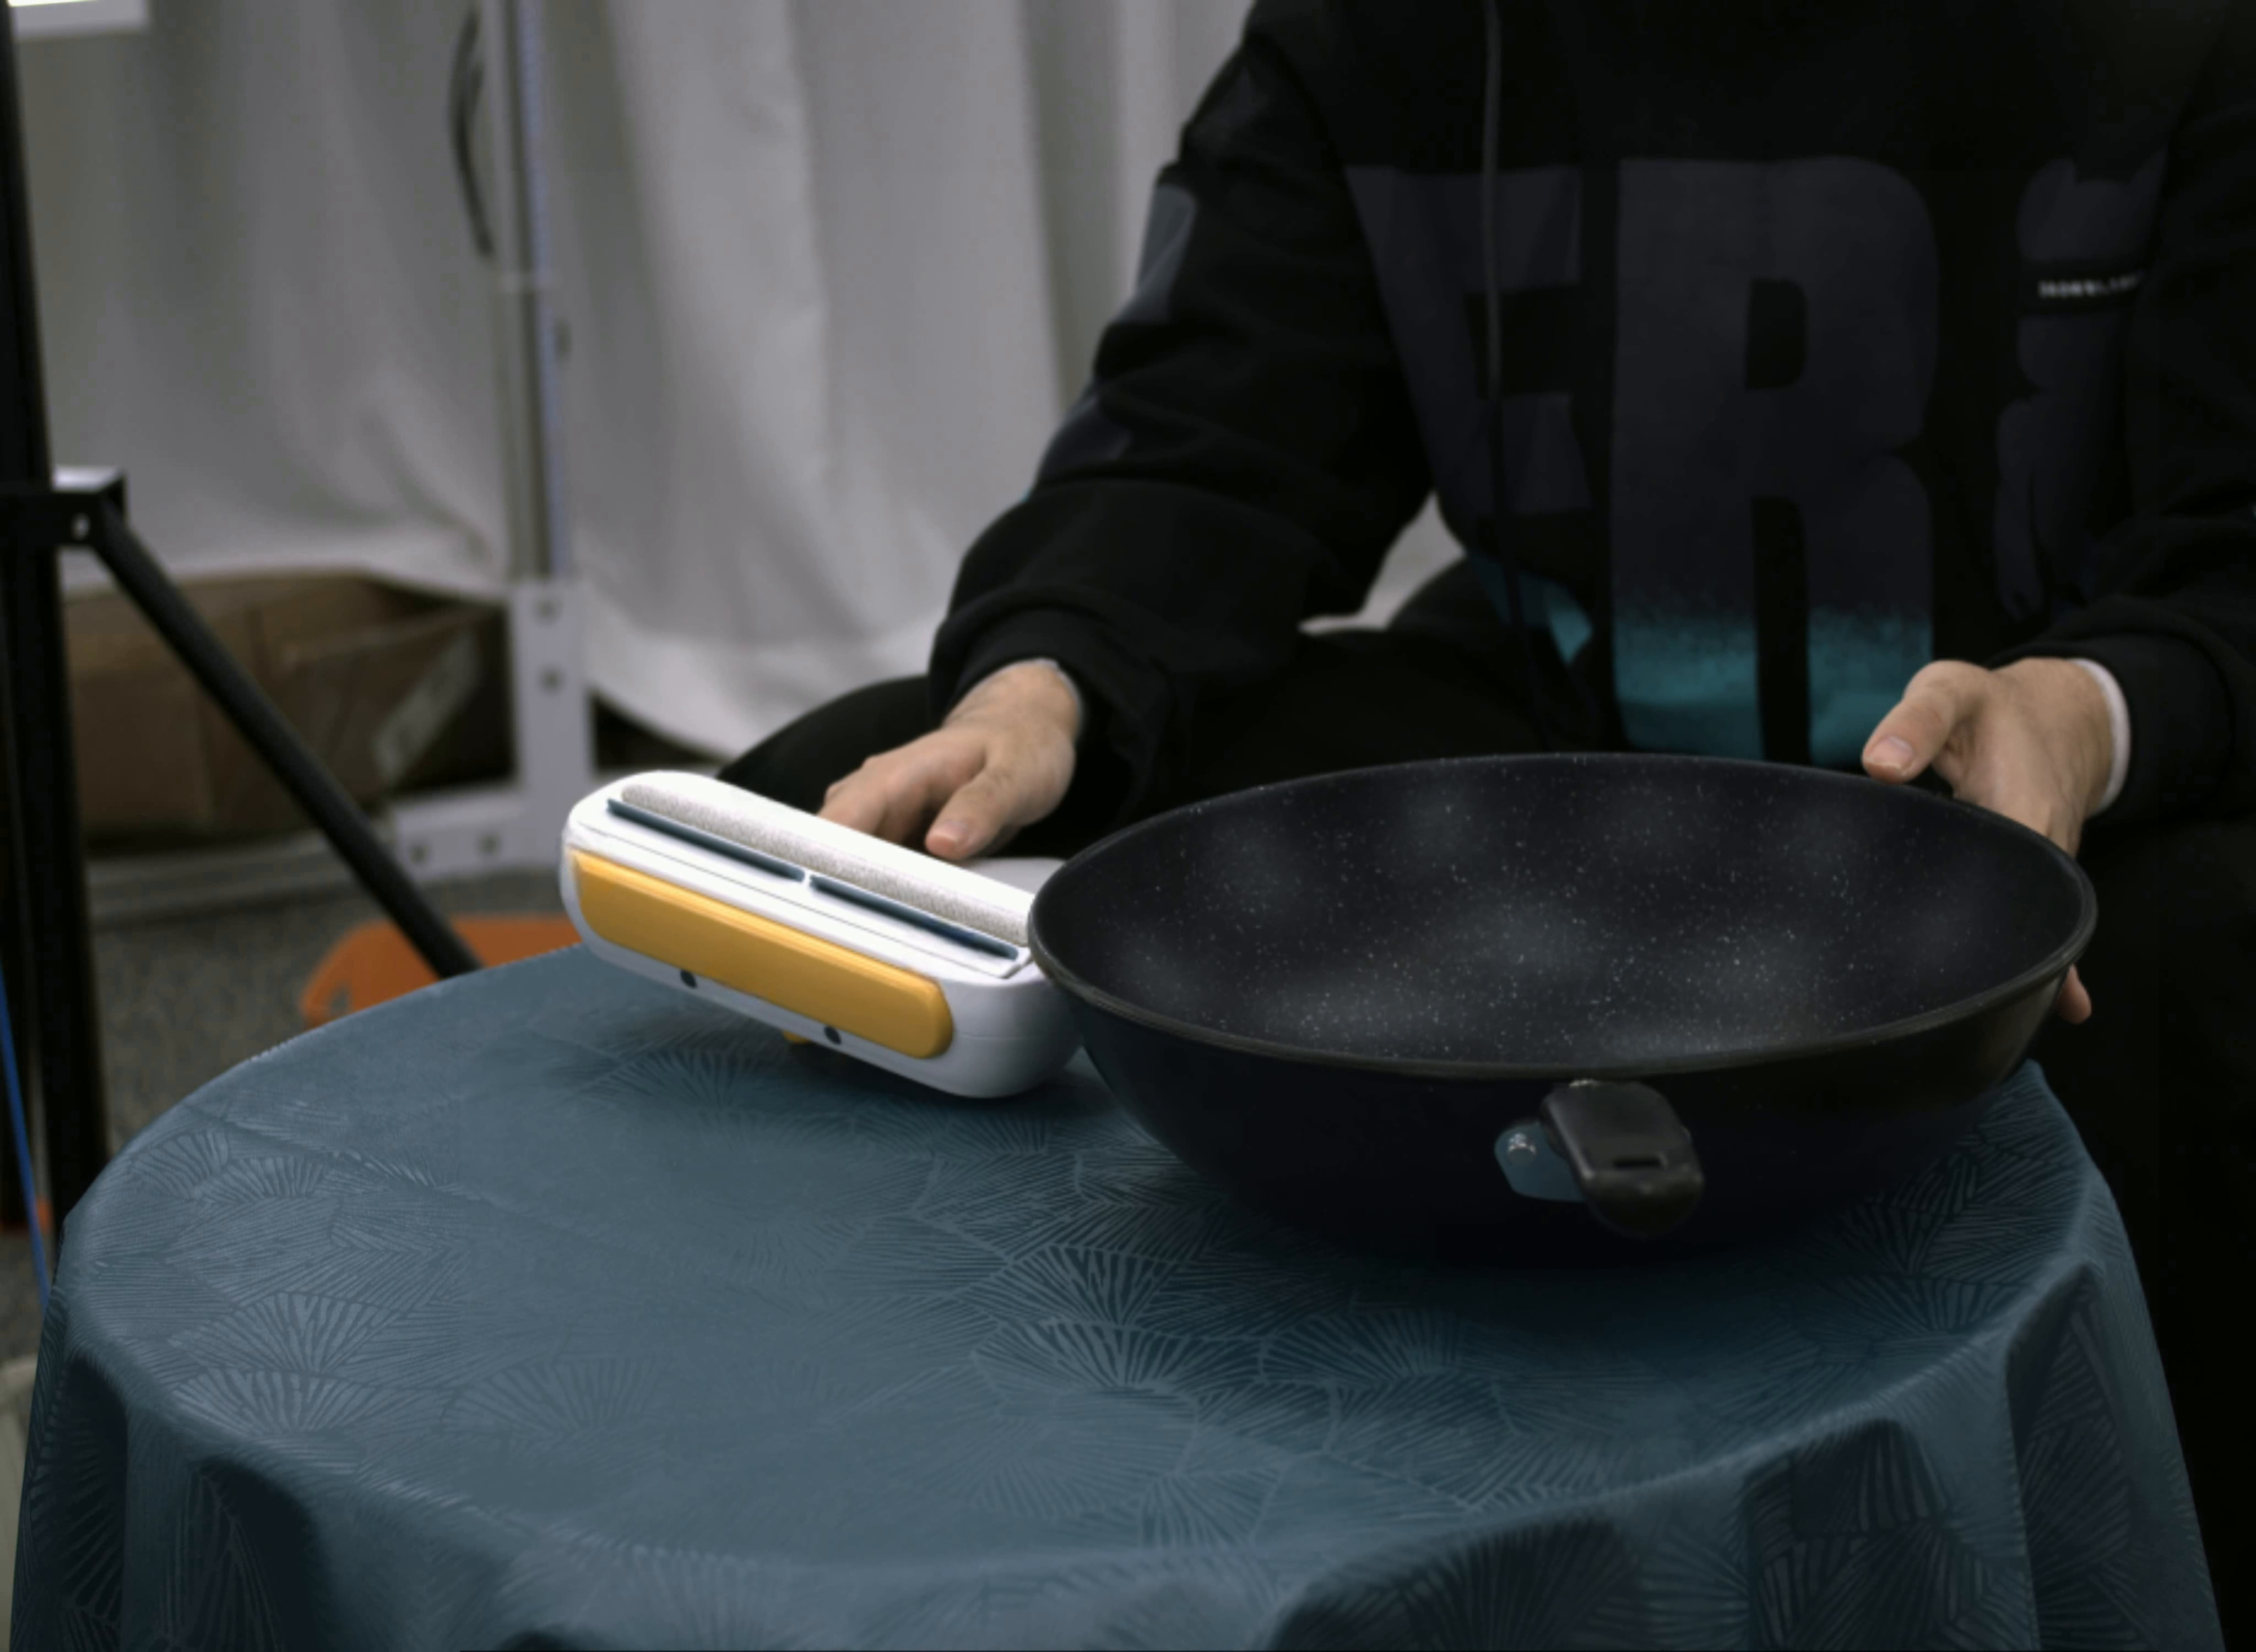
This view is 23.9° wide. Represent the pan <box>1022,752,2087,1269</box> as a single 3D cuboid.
[{"bbox_3d":[0.124,0.072,1.467,0.309,0.111,0.478,-4,15,2],"label":"pan"}]

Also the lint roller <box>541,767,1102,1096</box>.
[{"bbox_3d":[-0.067,0.026,1.734,0.197,0.074,0.188,16,22,36],"label":"lint roller"}]
